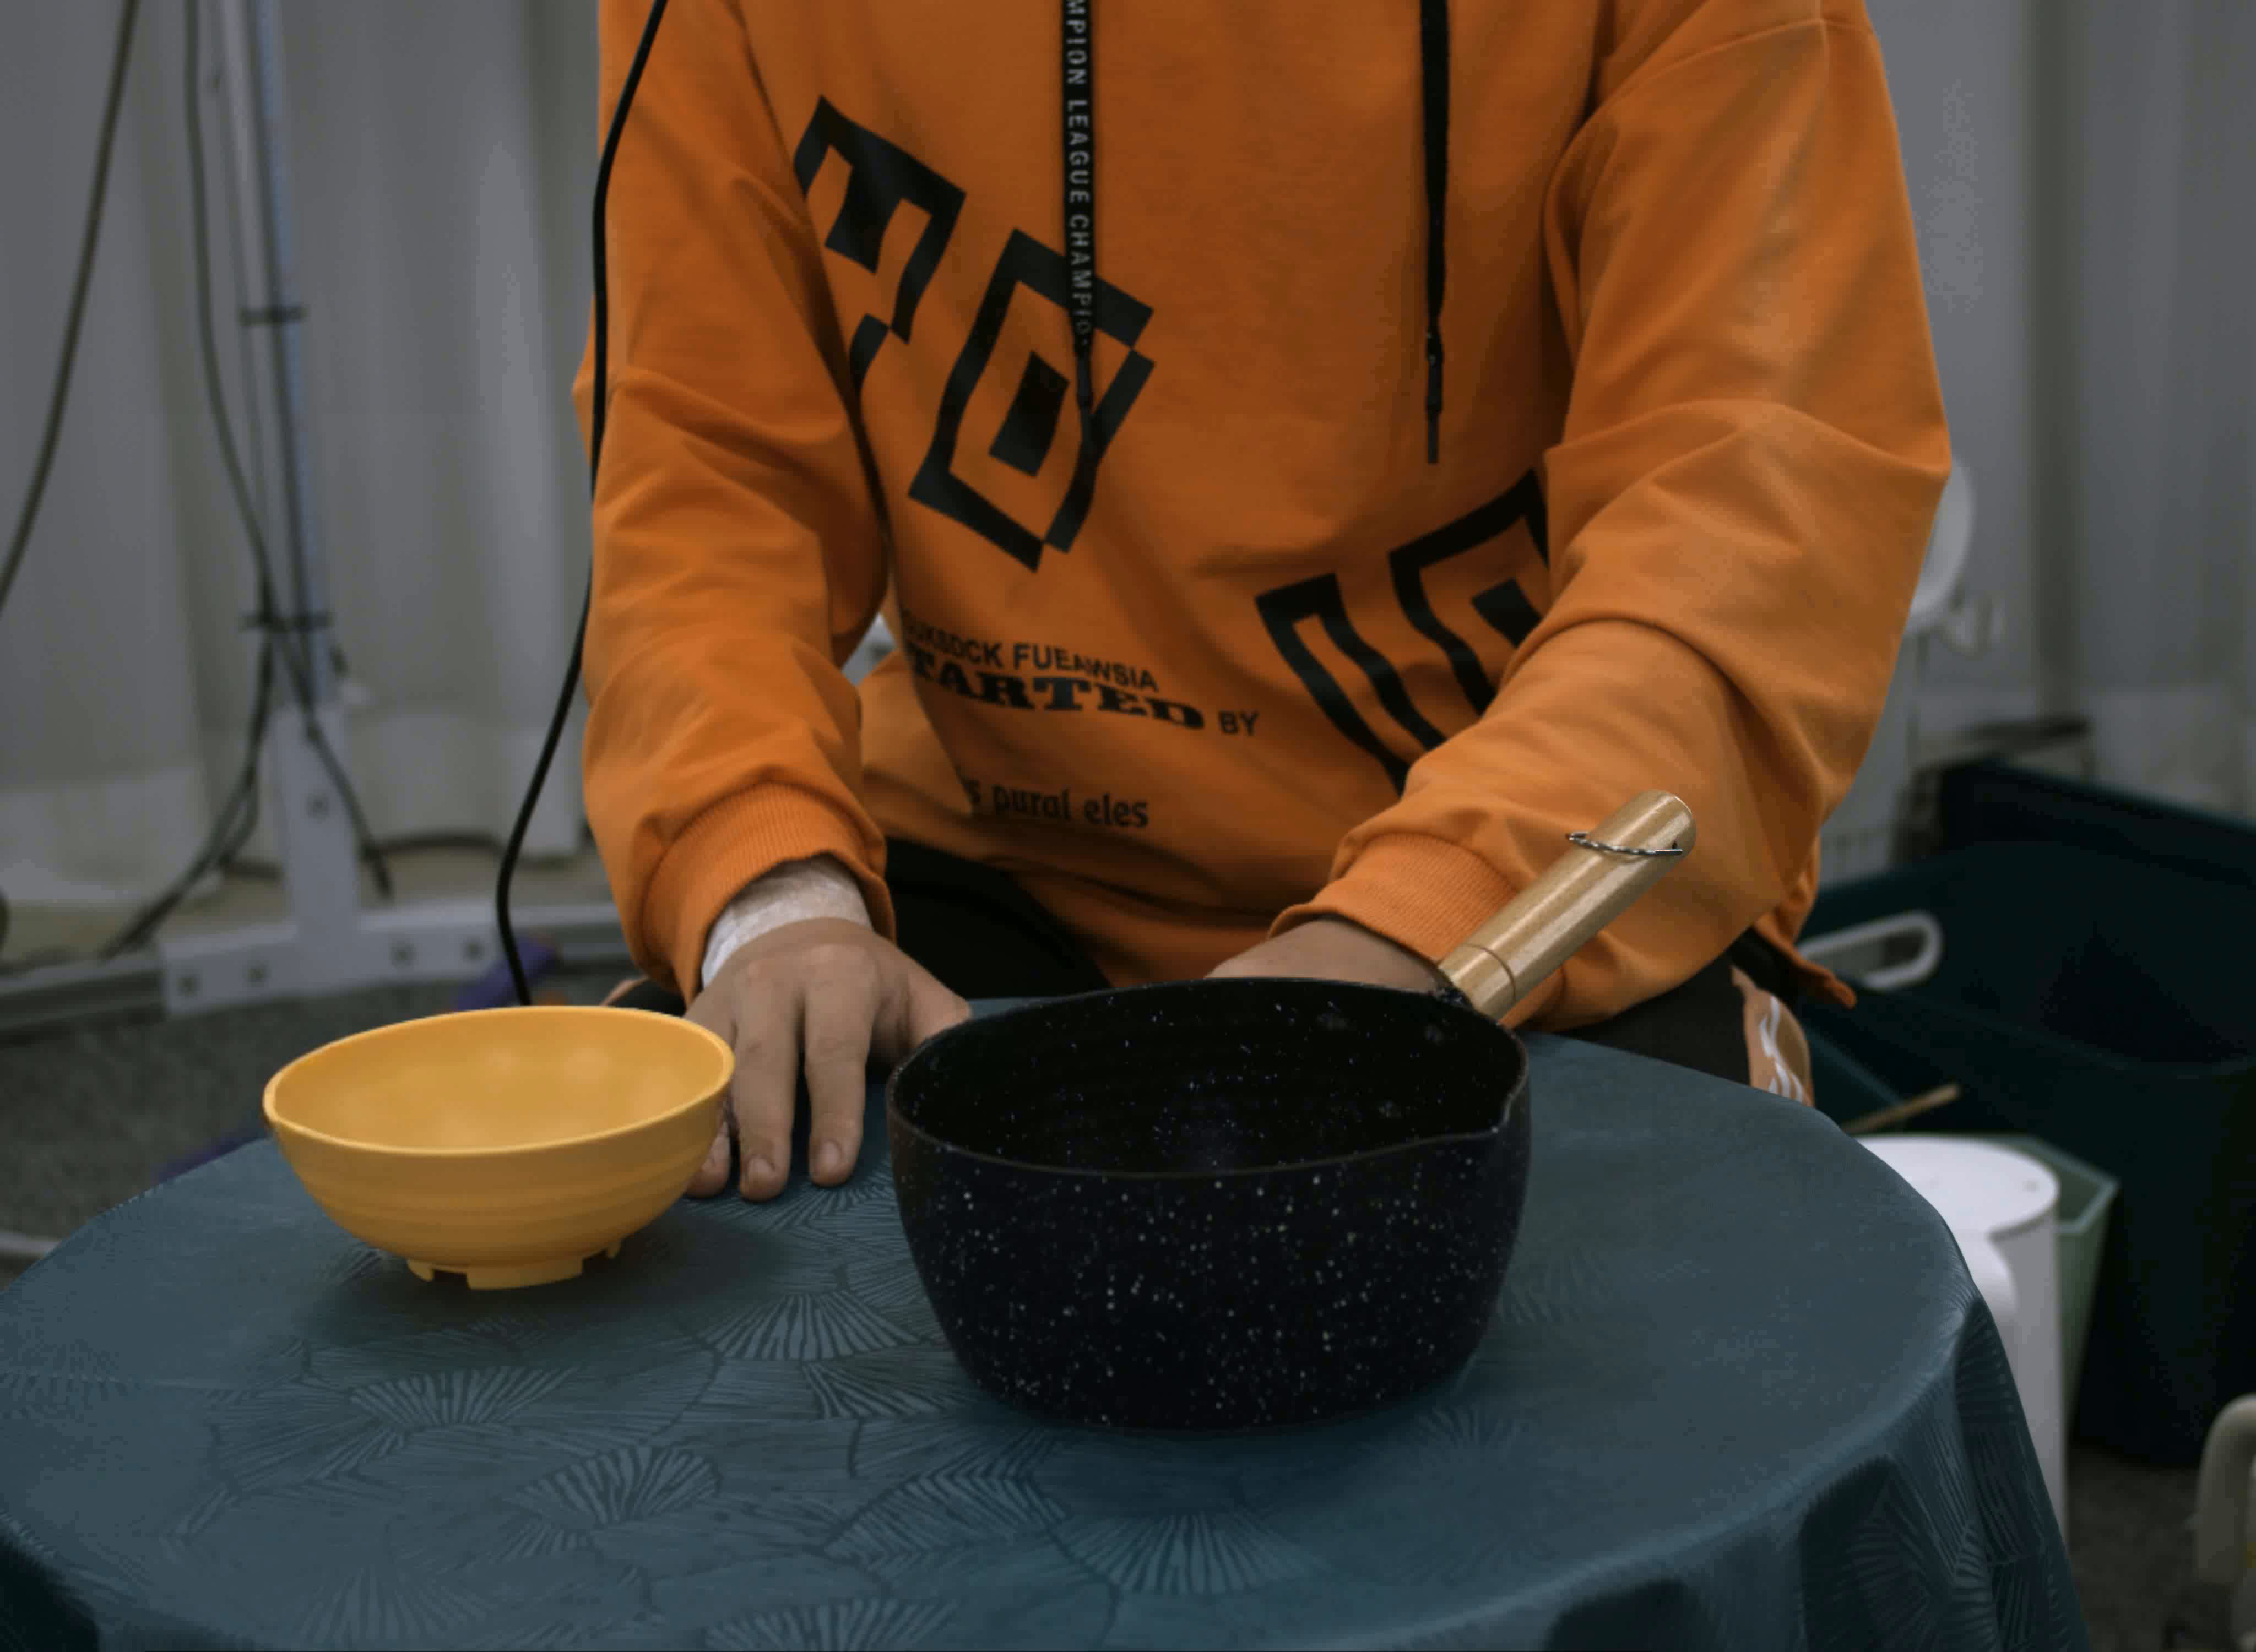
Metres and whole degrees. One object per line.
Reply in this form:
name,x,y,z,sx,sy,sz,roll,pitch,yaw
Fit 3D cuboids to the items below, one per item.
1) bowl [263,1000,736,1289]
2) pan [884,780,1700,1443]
bowl,-0.191,0.104,1.682,0.145,0.060,0.146,-2,15,0
pan,0.071,0.080,1.625,0.208,0.108,0.343,6,19,36
